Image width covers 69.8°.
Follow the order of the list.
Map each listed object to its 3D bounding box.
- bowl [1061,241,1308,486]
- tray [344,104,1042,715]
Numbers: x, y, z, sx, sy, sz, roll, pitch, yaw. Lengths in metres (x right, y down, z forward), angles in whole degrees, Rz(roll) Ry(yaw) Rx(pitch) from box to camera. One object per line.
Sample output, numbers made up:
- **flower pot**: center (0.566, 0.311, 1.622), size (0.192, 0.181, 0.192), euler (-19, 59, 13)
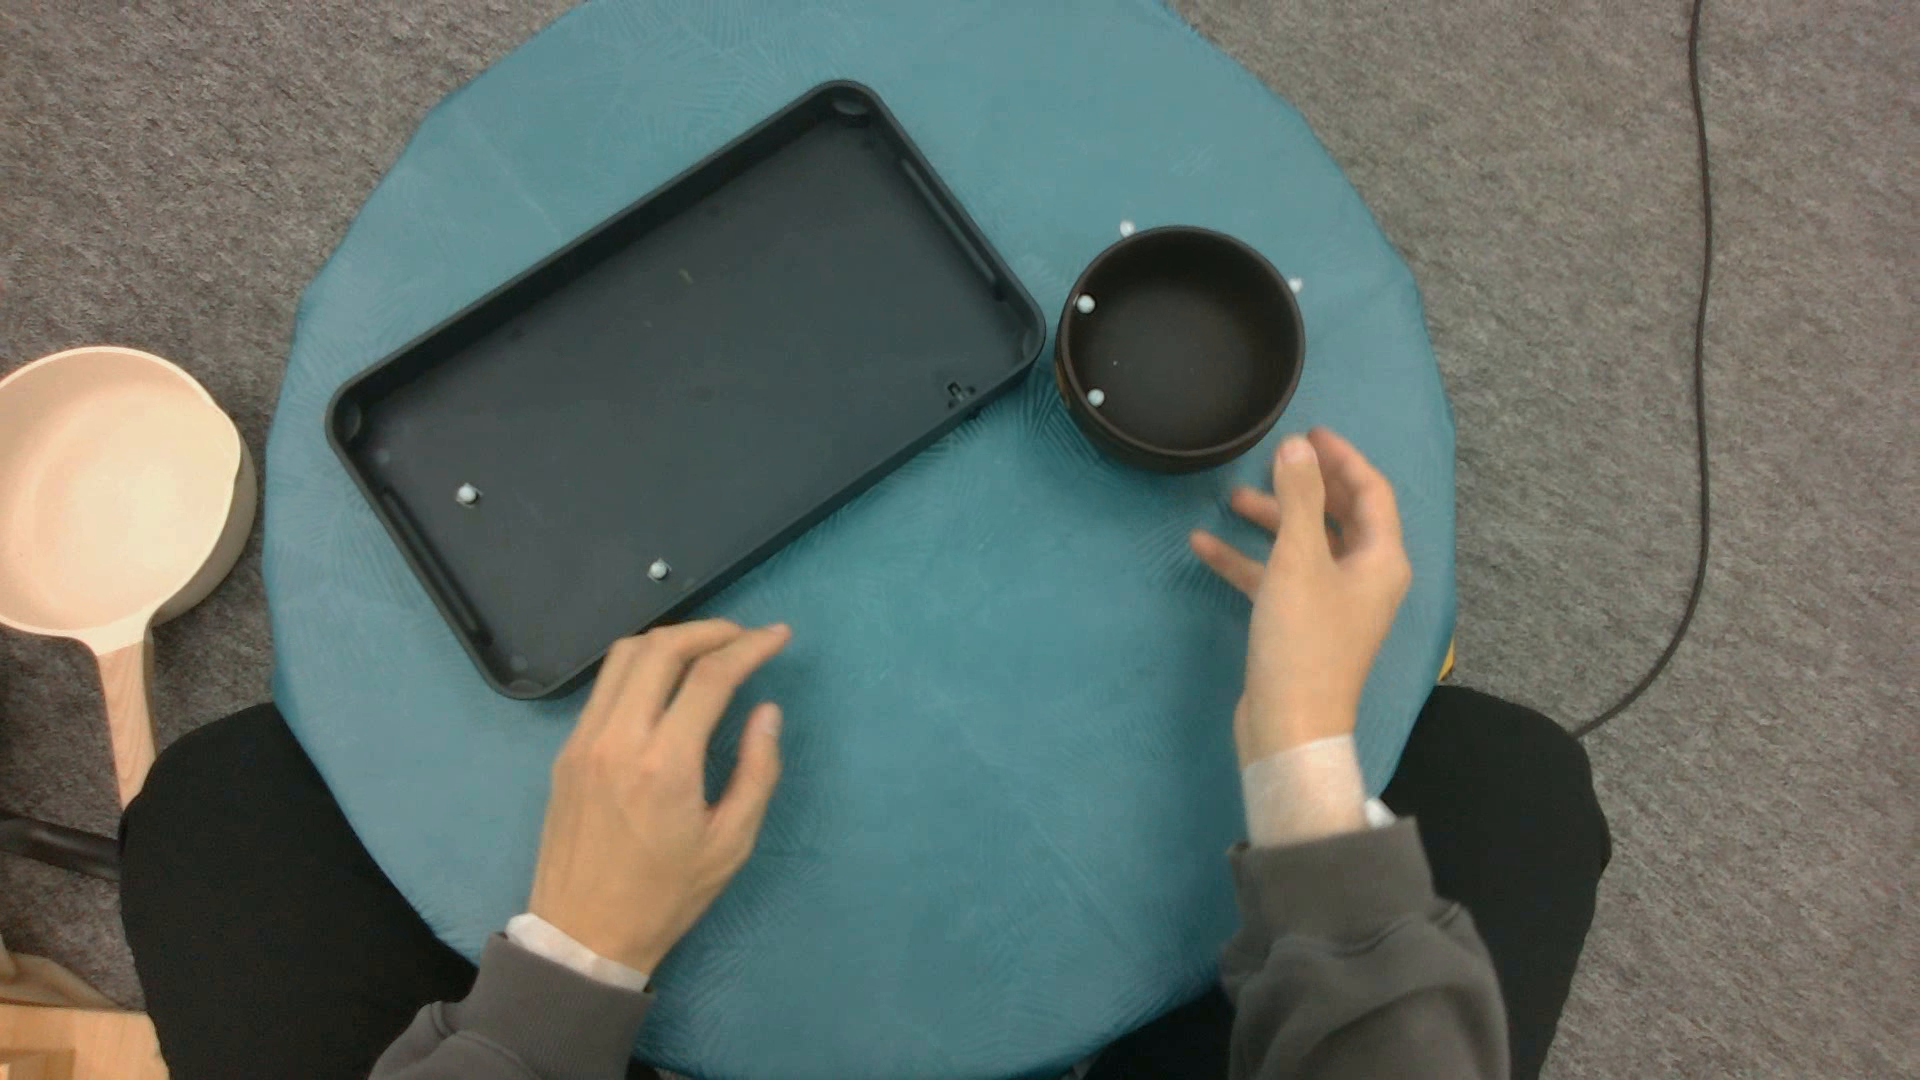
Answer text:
- **bowl**: center (0.108, -0.083, 0.688), size (0.118, 0.070, 0.118), euler (0, 79, -1)
- **tray**: center (-0.130, -0.070, 0.700), size (0.318, 0.037, 0.184), euler (-37, 81, -9)
